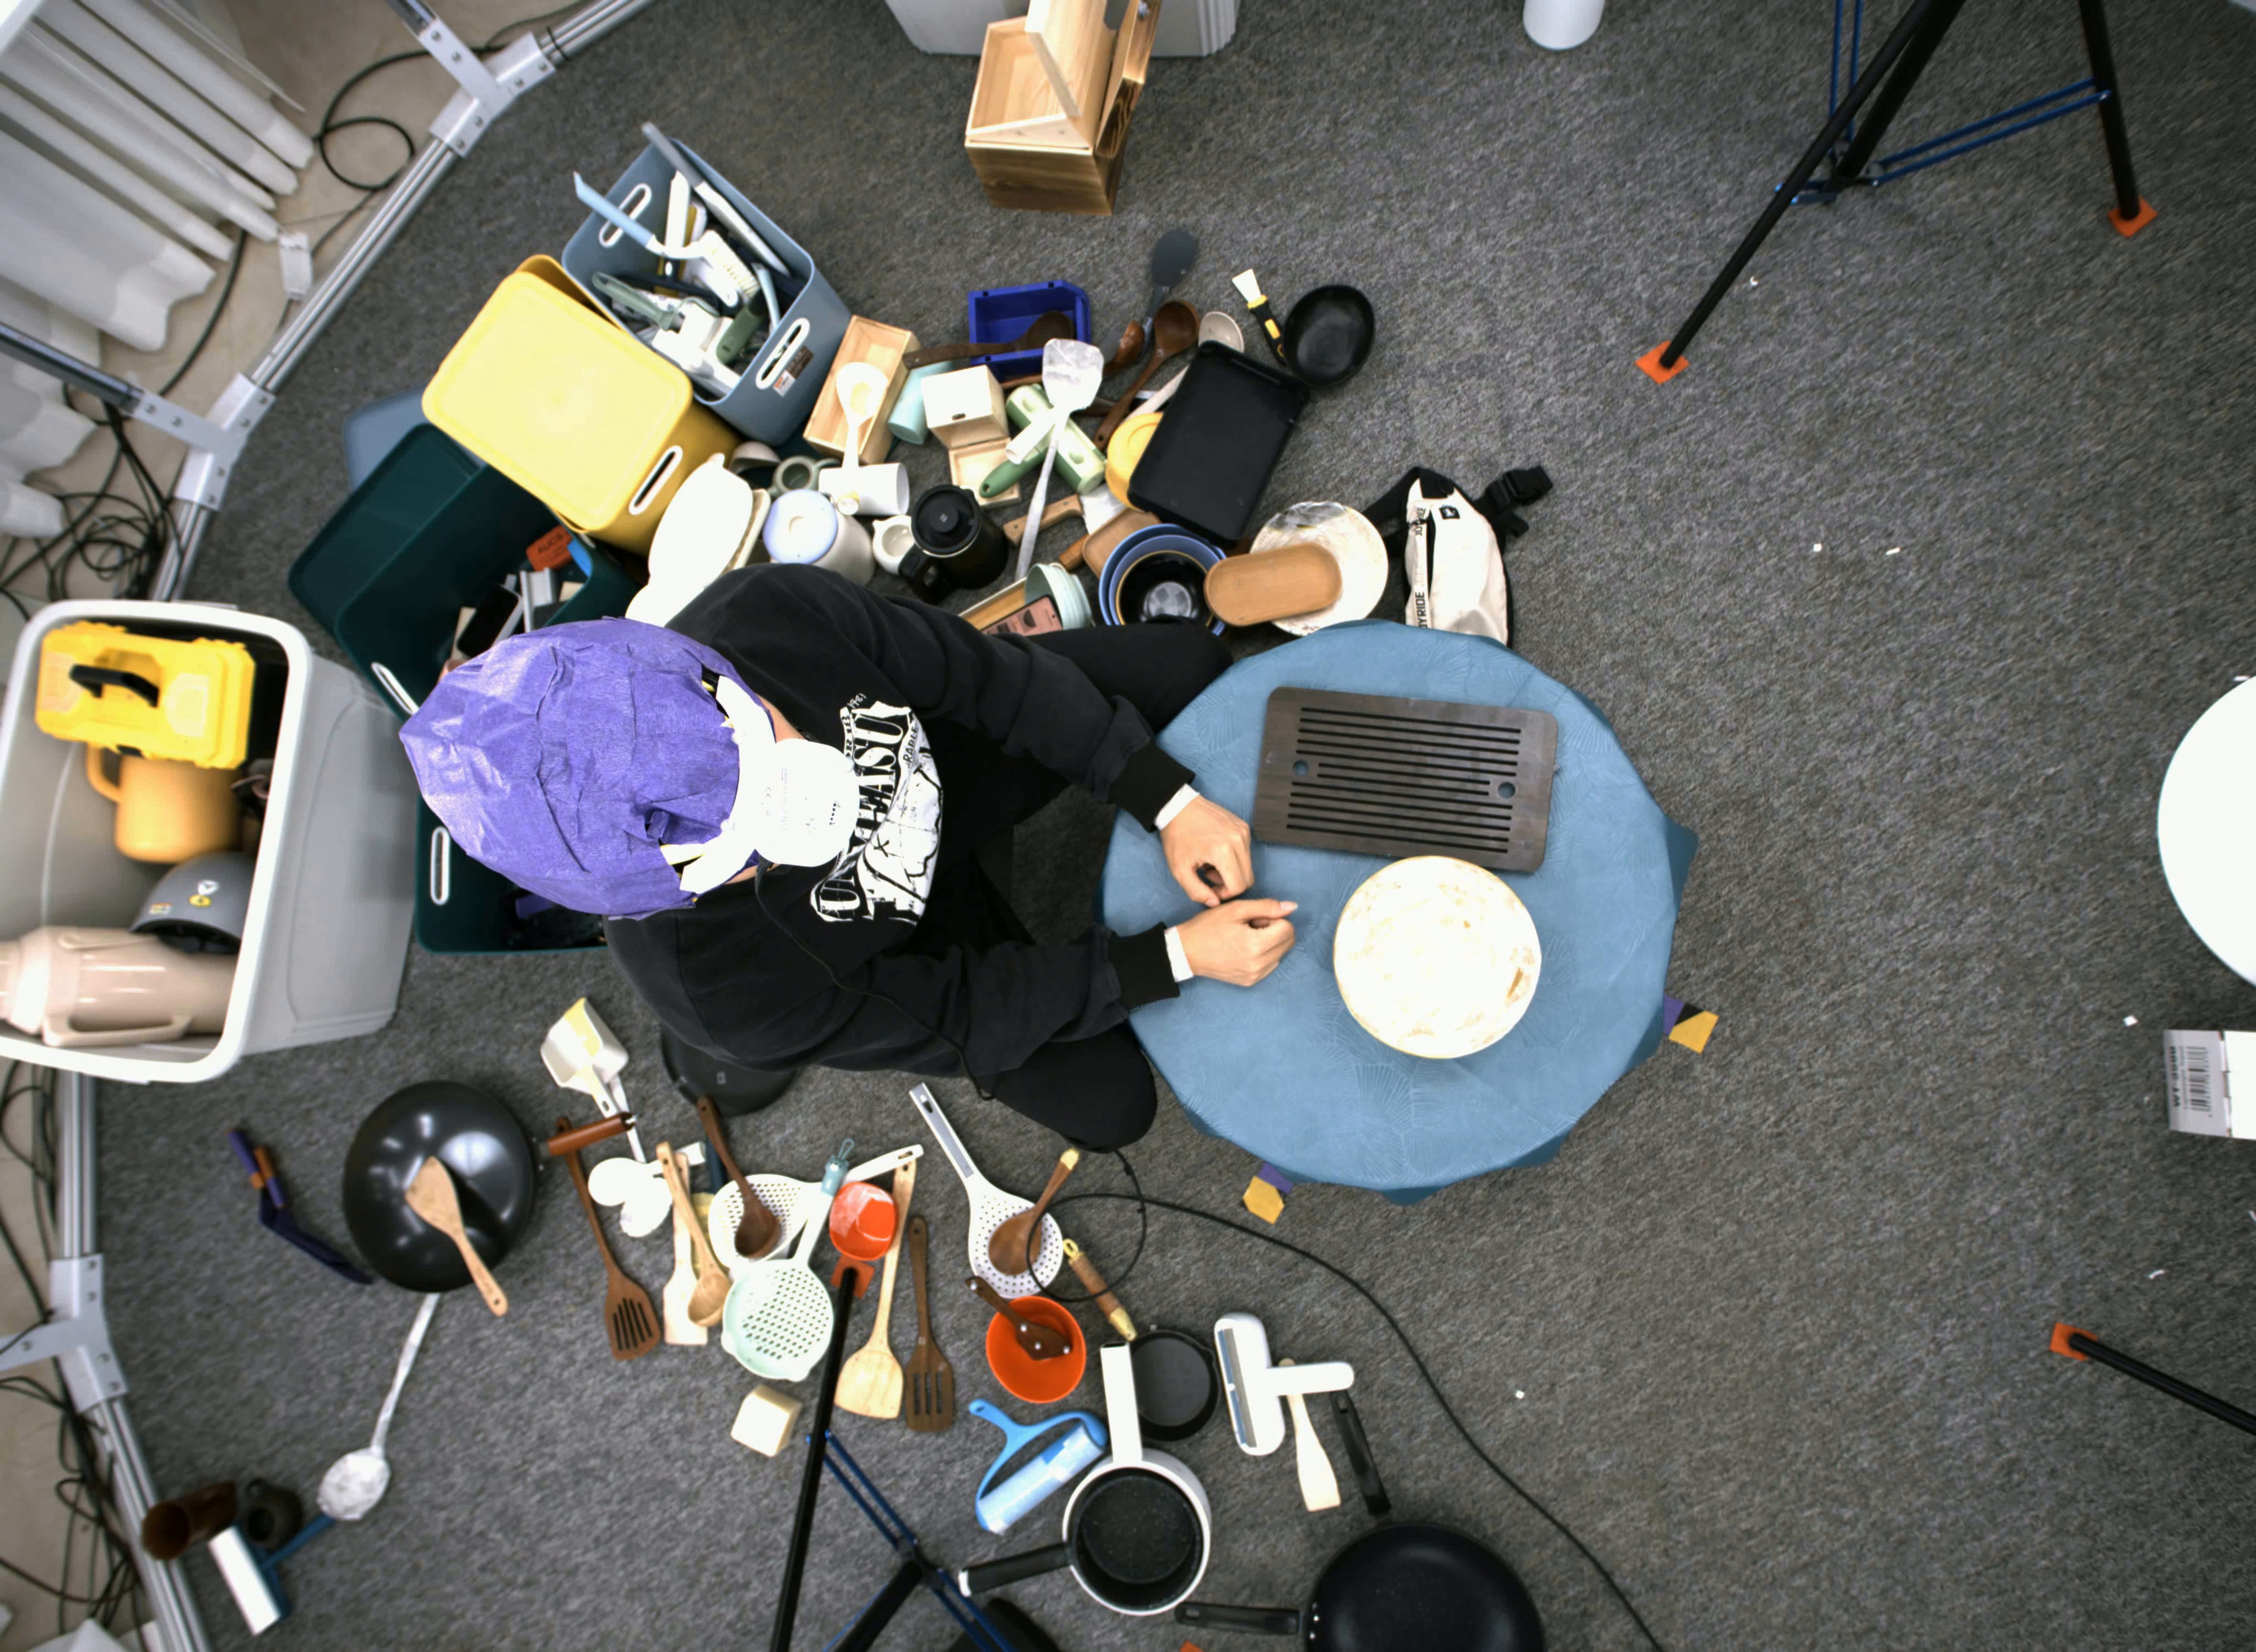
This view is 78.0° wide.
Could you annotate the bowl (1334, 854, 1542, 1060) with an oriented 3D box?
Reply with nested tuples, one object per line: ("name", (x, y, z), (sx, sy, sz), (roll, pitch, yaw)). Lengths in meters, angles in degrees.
("bowl", (0.310, 0.130, 1.406), (0.215, 0.094, 0.214), (-1, 87, 10))

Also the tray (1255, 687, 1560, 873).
("tray", (0.294, -0.052, 1.460), (0.307, 0.018, 0.169), (7, 87, 11))
